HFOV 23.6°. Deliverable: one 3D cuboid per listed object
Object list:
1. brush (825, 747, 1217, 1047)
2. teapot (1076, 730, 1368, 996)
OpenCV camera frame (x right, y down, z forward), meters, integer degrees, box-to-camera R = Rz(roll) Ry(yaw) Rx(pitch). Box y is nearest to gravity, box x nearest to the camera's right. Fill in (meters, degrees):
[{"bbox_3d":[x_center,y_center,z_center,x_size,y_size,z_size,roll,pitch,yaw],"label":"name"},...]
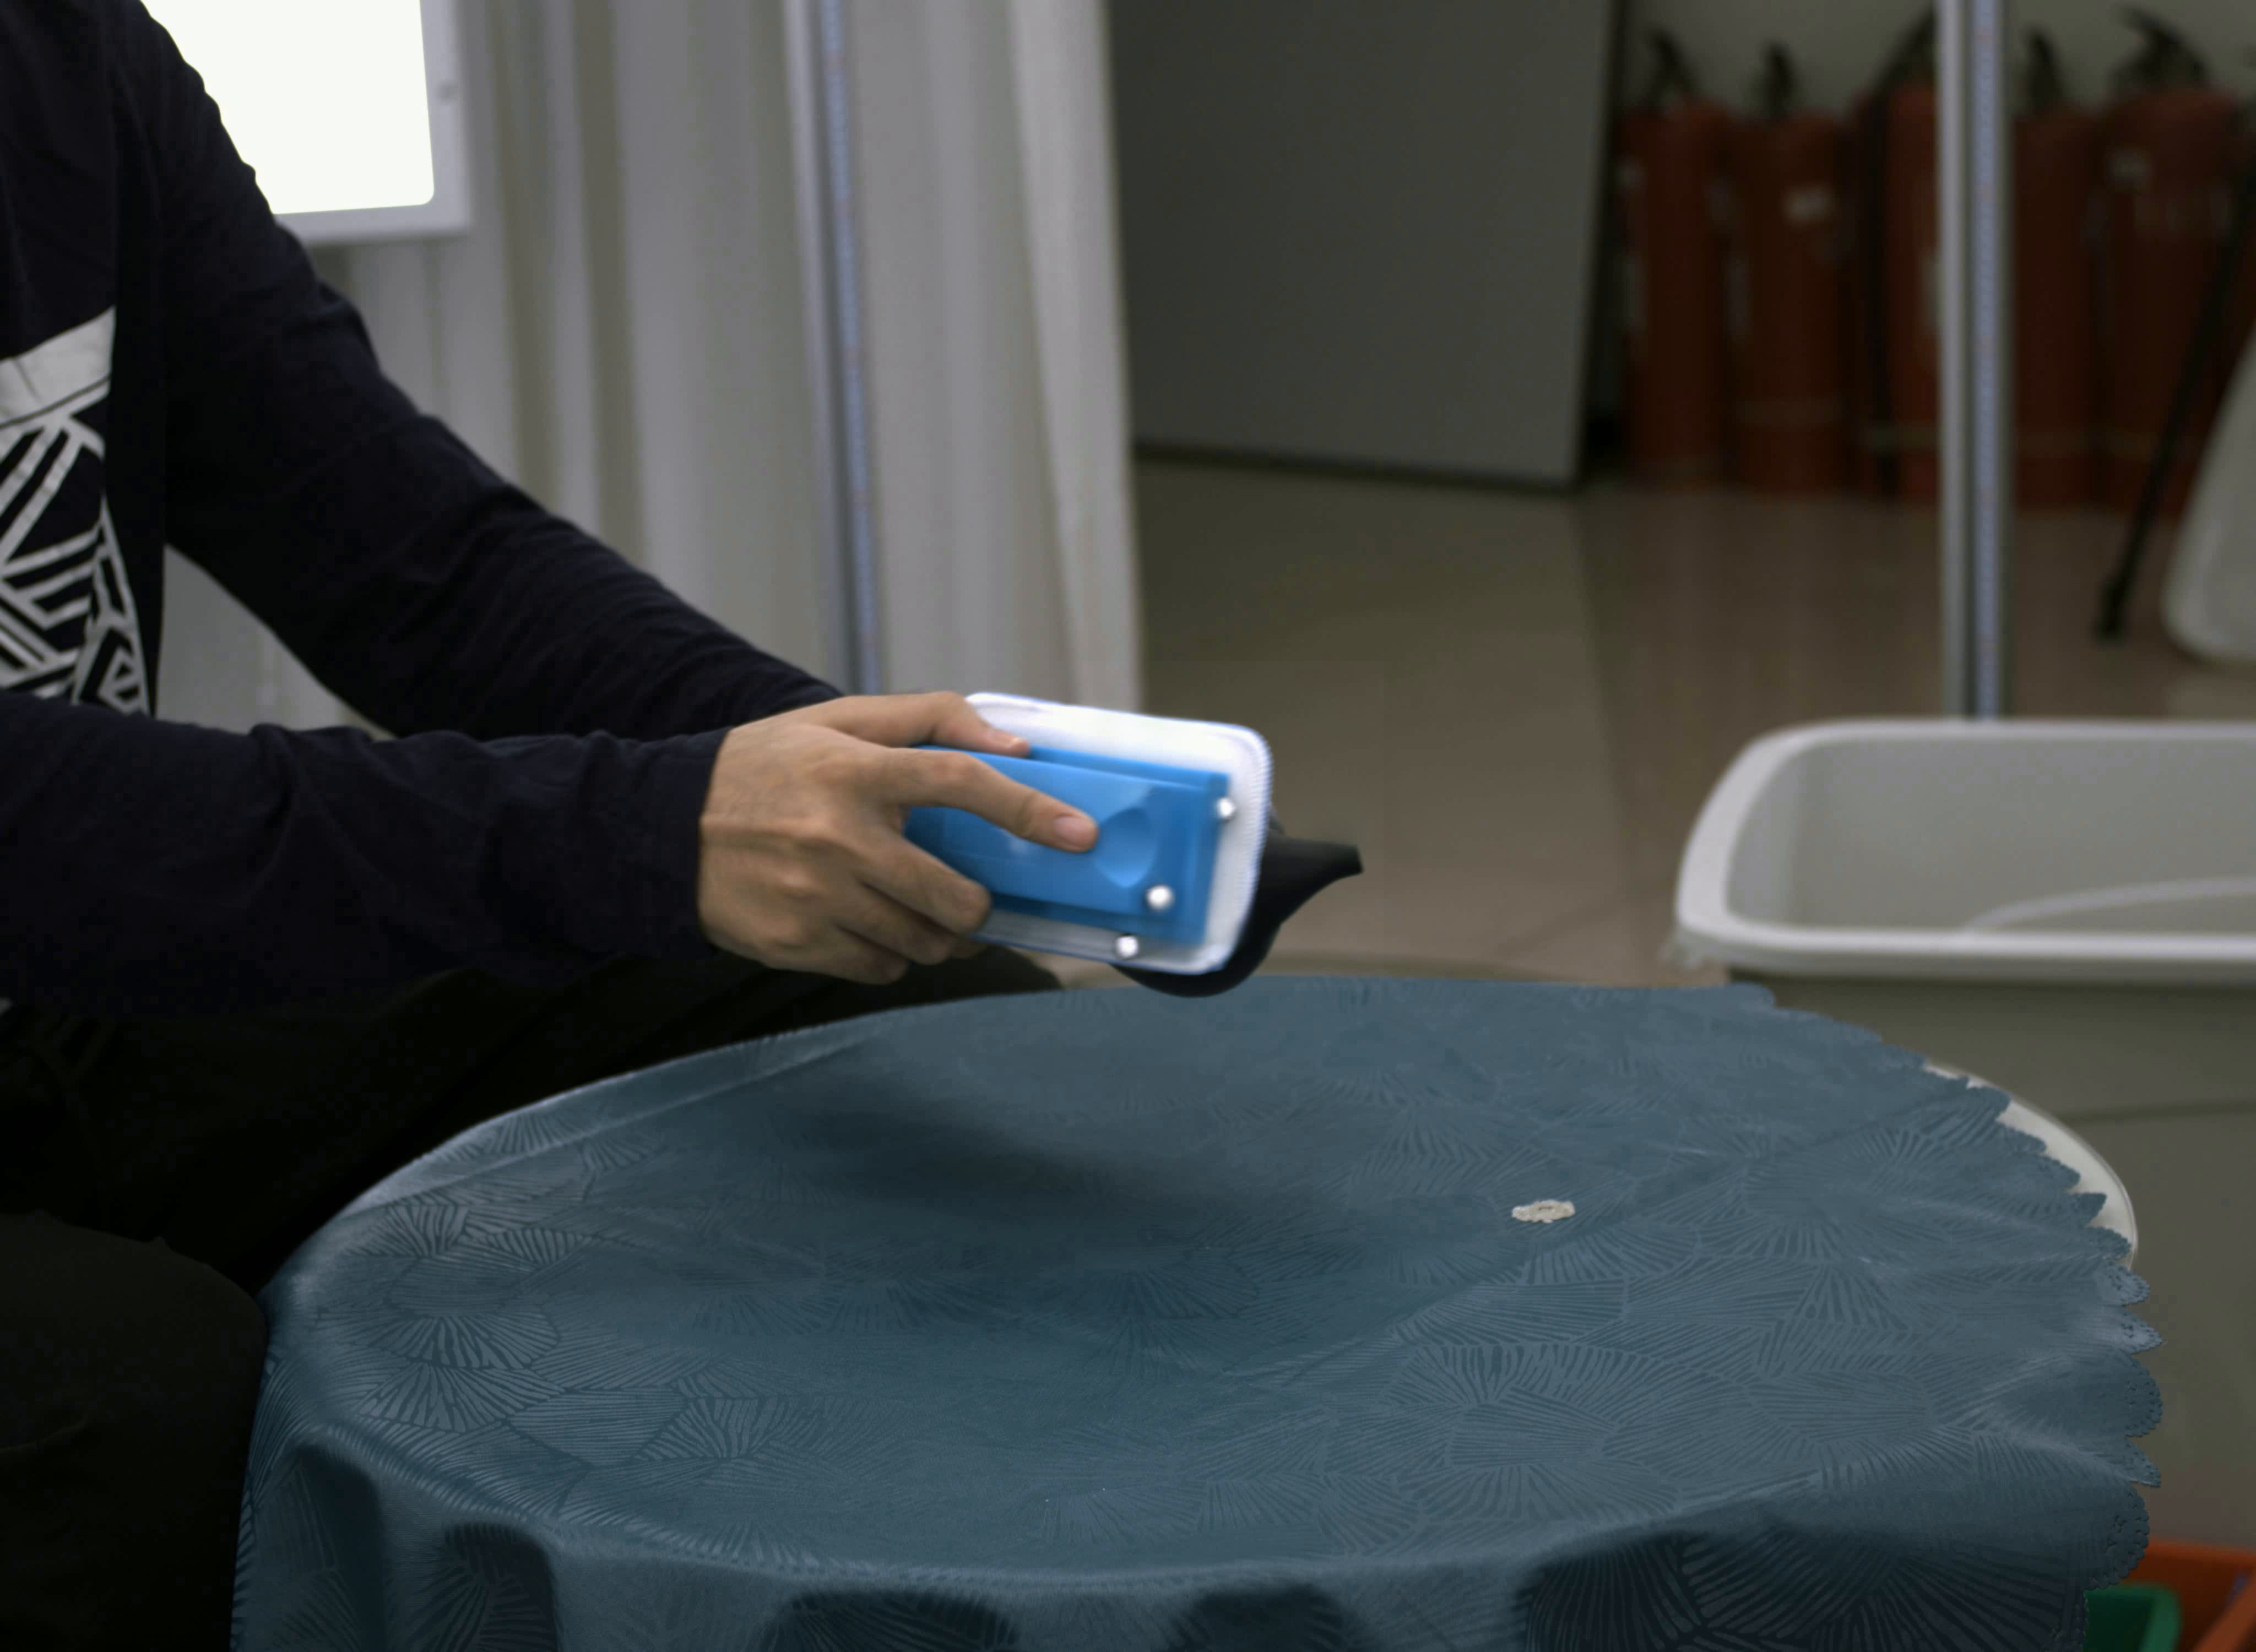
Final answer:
[{"bbox_3d":[-0.041,0.016,1.707,0.144,0.085,0.055,-13,-26,27],"label":"brush"},{"bbox_3d":[0.016,0.011,1.762,0.052,0.091,0.134,-31,27,-36],"label":"teapot"}]
